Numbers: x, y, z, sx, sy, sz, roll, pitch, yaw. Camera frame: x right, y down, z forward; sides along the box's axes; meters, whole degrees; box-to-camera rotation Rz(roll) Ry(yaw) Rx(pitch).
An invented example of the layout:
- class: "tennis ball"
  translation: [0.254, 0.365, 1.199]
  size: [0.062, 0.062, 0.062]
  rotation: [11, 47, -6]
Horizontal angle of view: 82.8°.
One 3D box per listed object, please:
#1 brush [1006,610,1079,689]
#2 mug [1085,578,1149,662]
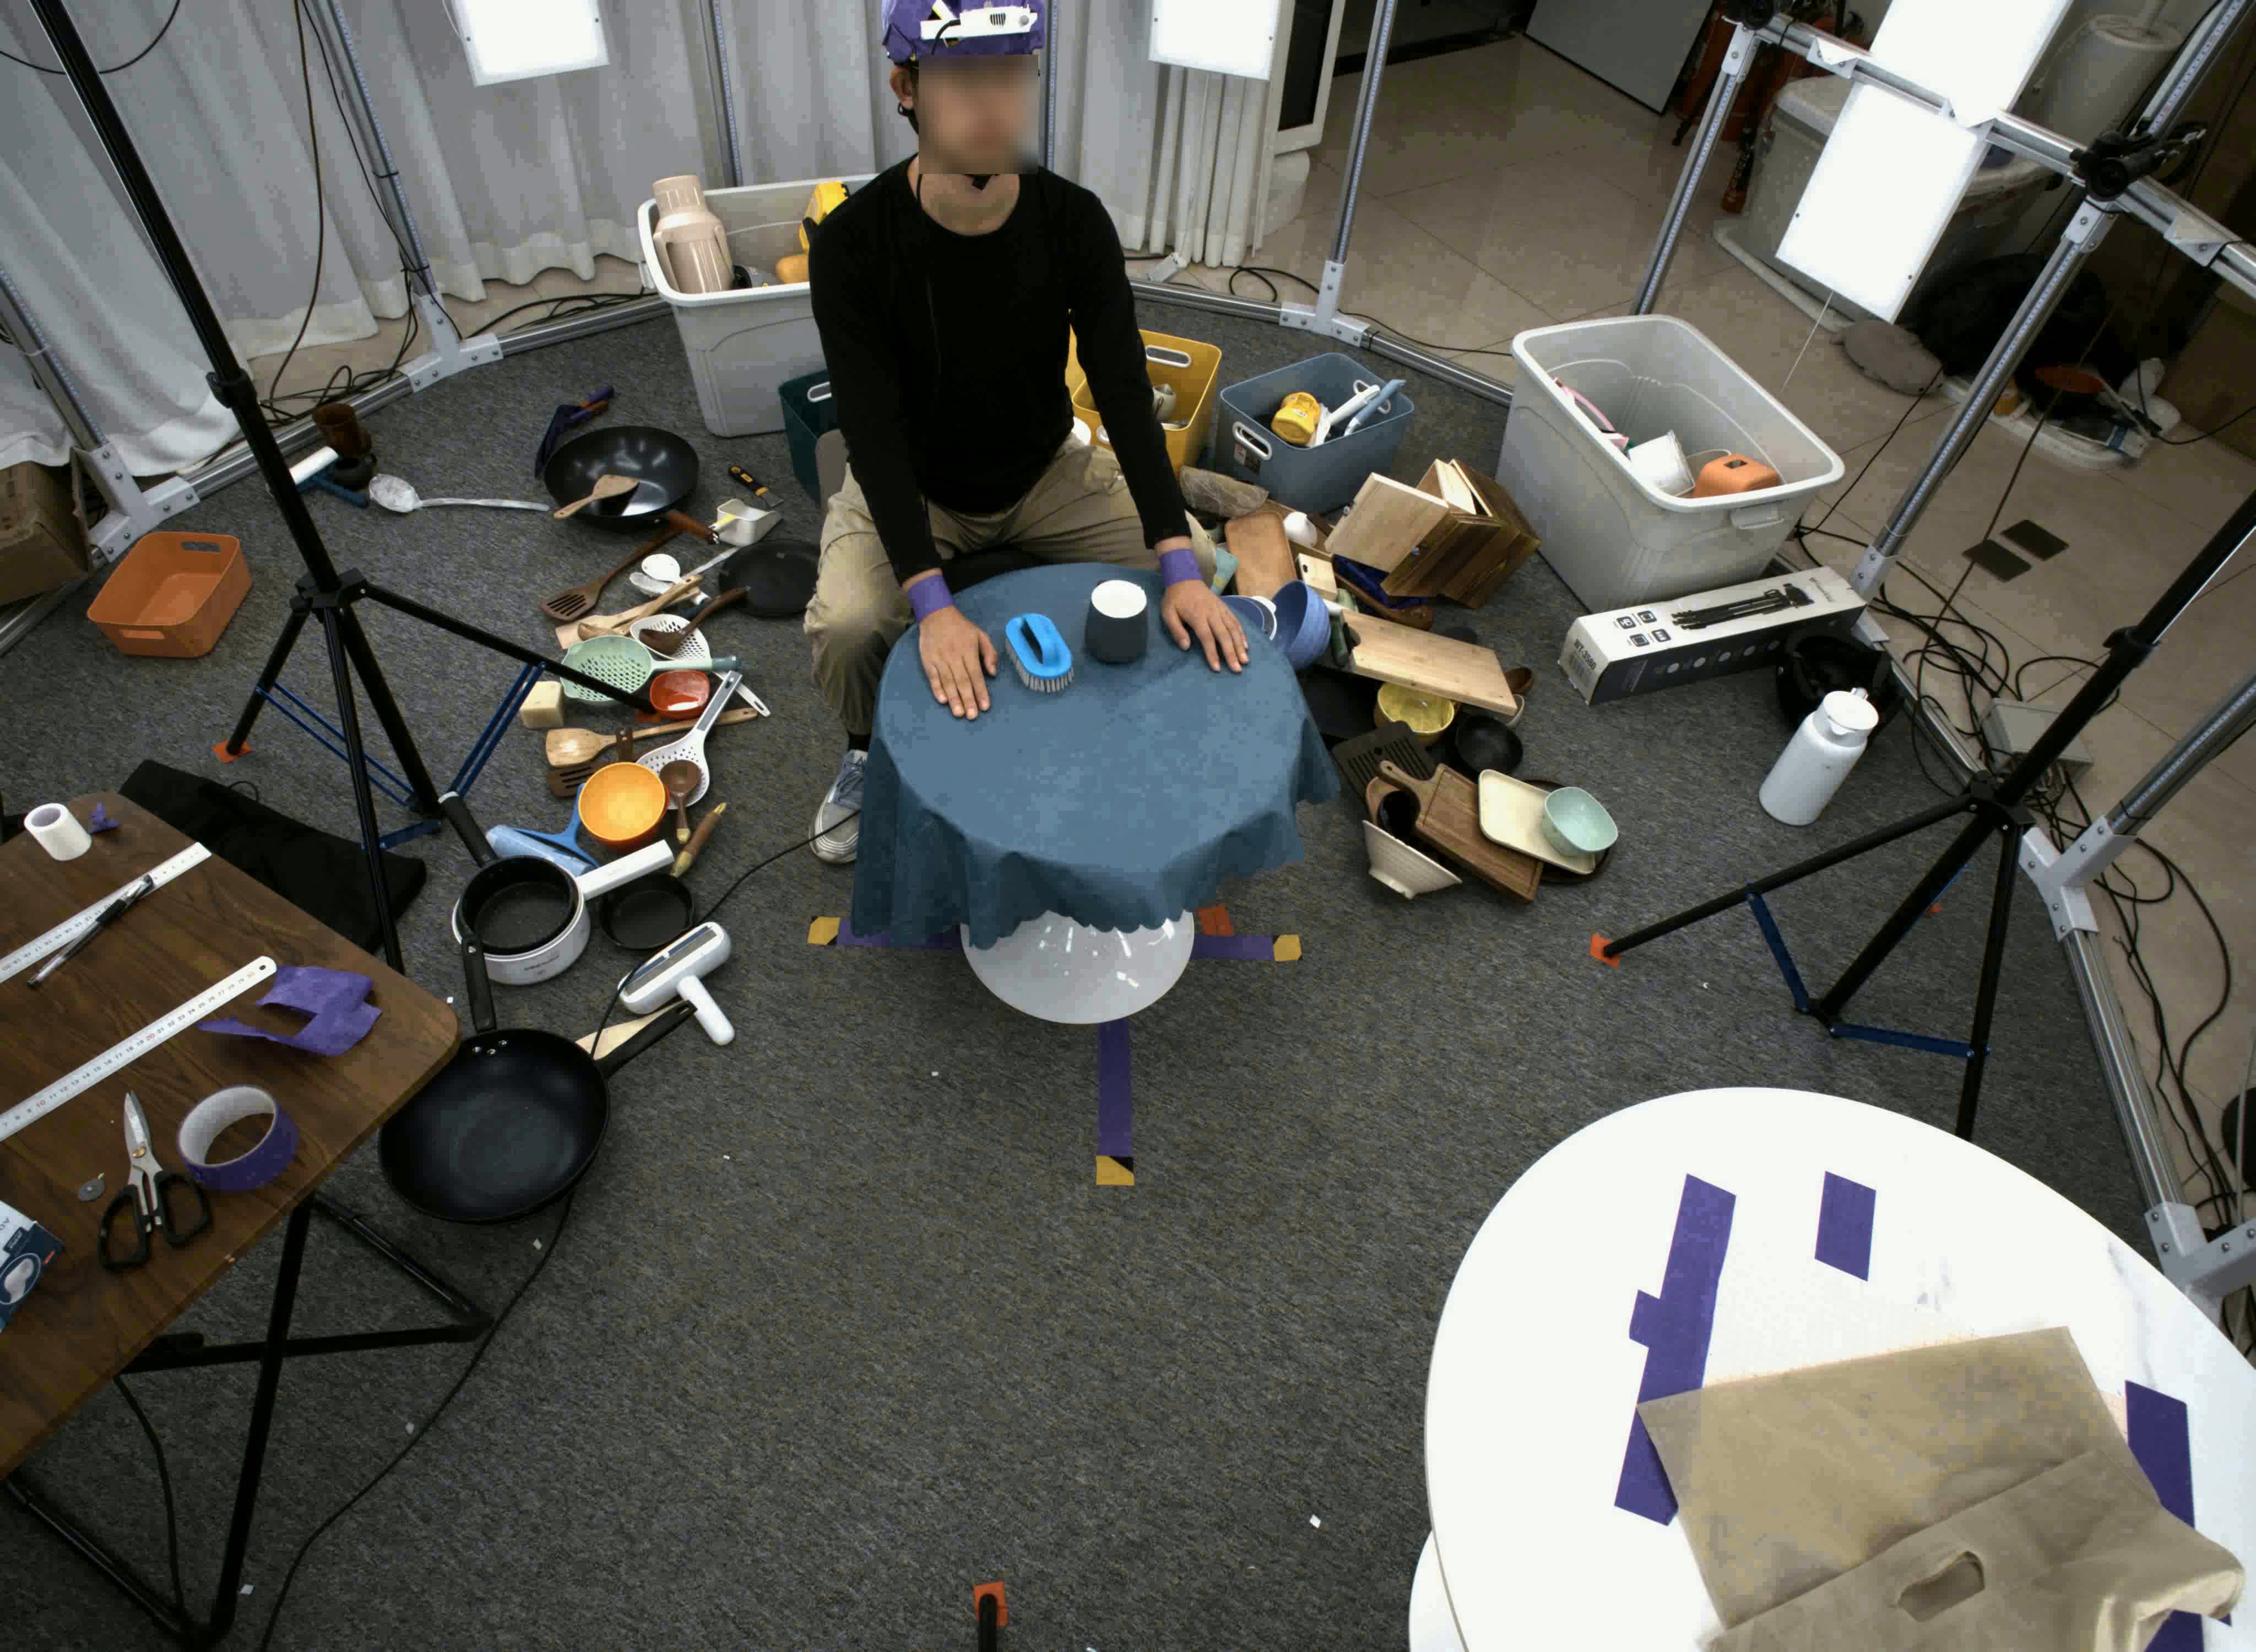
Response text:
- class: "brush"
  translation: [-0.125, -0.264, 1.844]
  size: [0.084, 0.062, 0.145]
  rotation: [-18, 52, -13]
- class: "mug"
  translation: [-0.019, -0.308, 1.872]
  size: [0.093, 0.088, 0.126]
  rotation: [-11, 52, -14]
